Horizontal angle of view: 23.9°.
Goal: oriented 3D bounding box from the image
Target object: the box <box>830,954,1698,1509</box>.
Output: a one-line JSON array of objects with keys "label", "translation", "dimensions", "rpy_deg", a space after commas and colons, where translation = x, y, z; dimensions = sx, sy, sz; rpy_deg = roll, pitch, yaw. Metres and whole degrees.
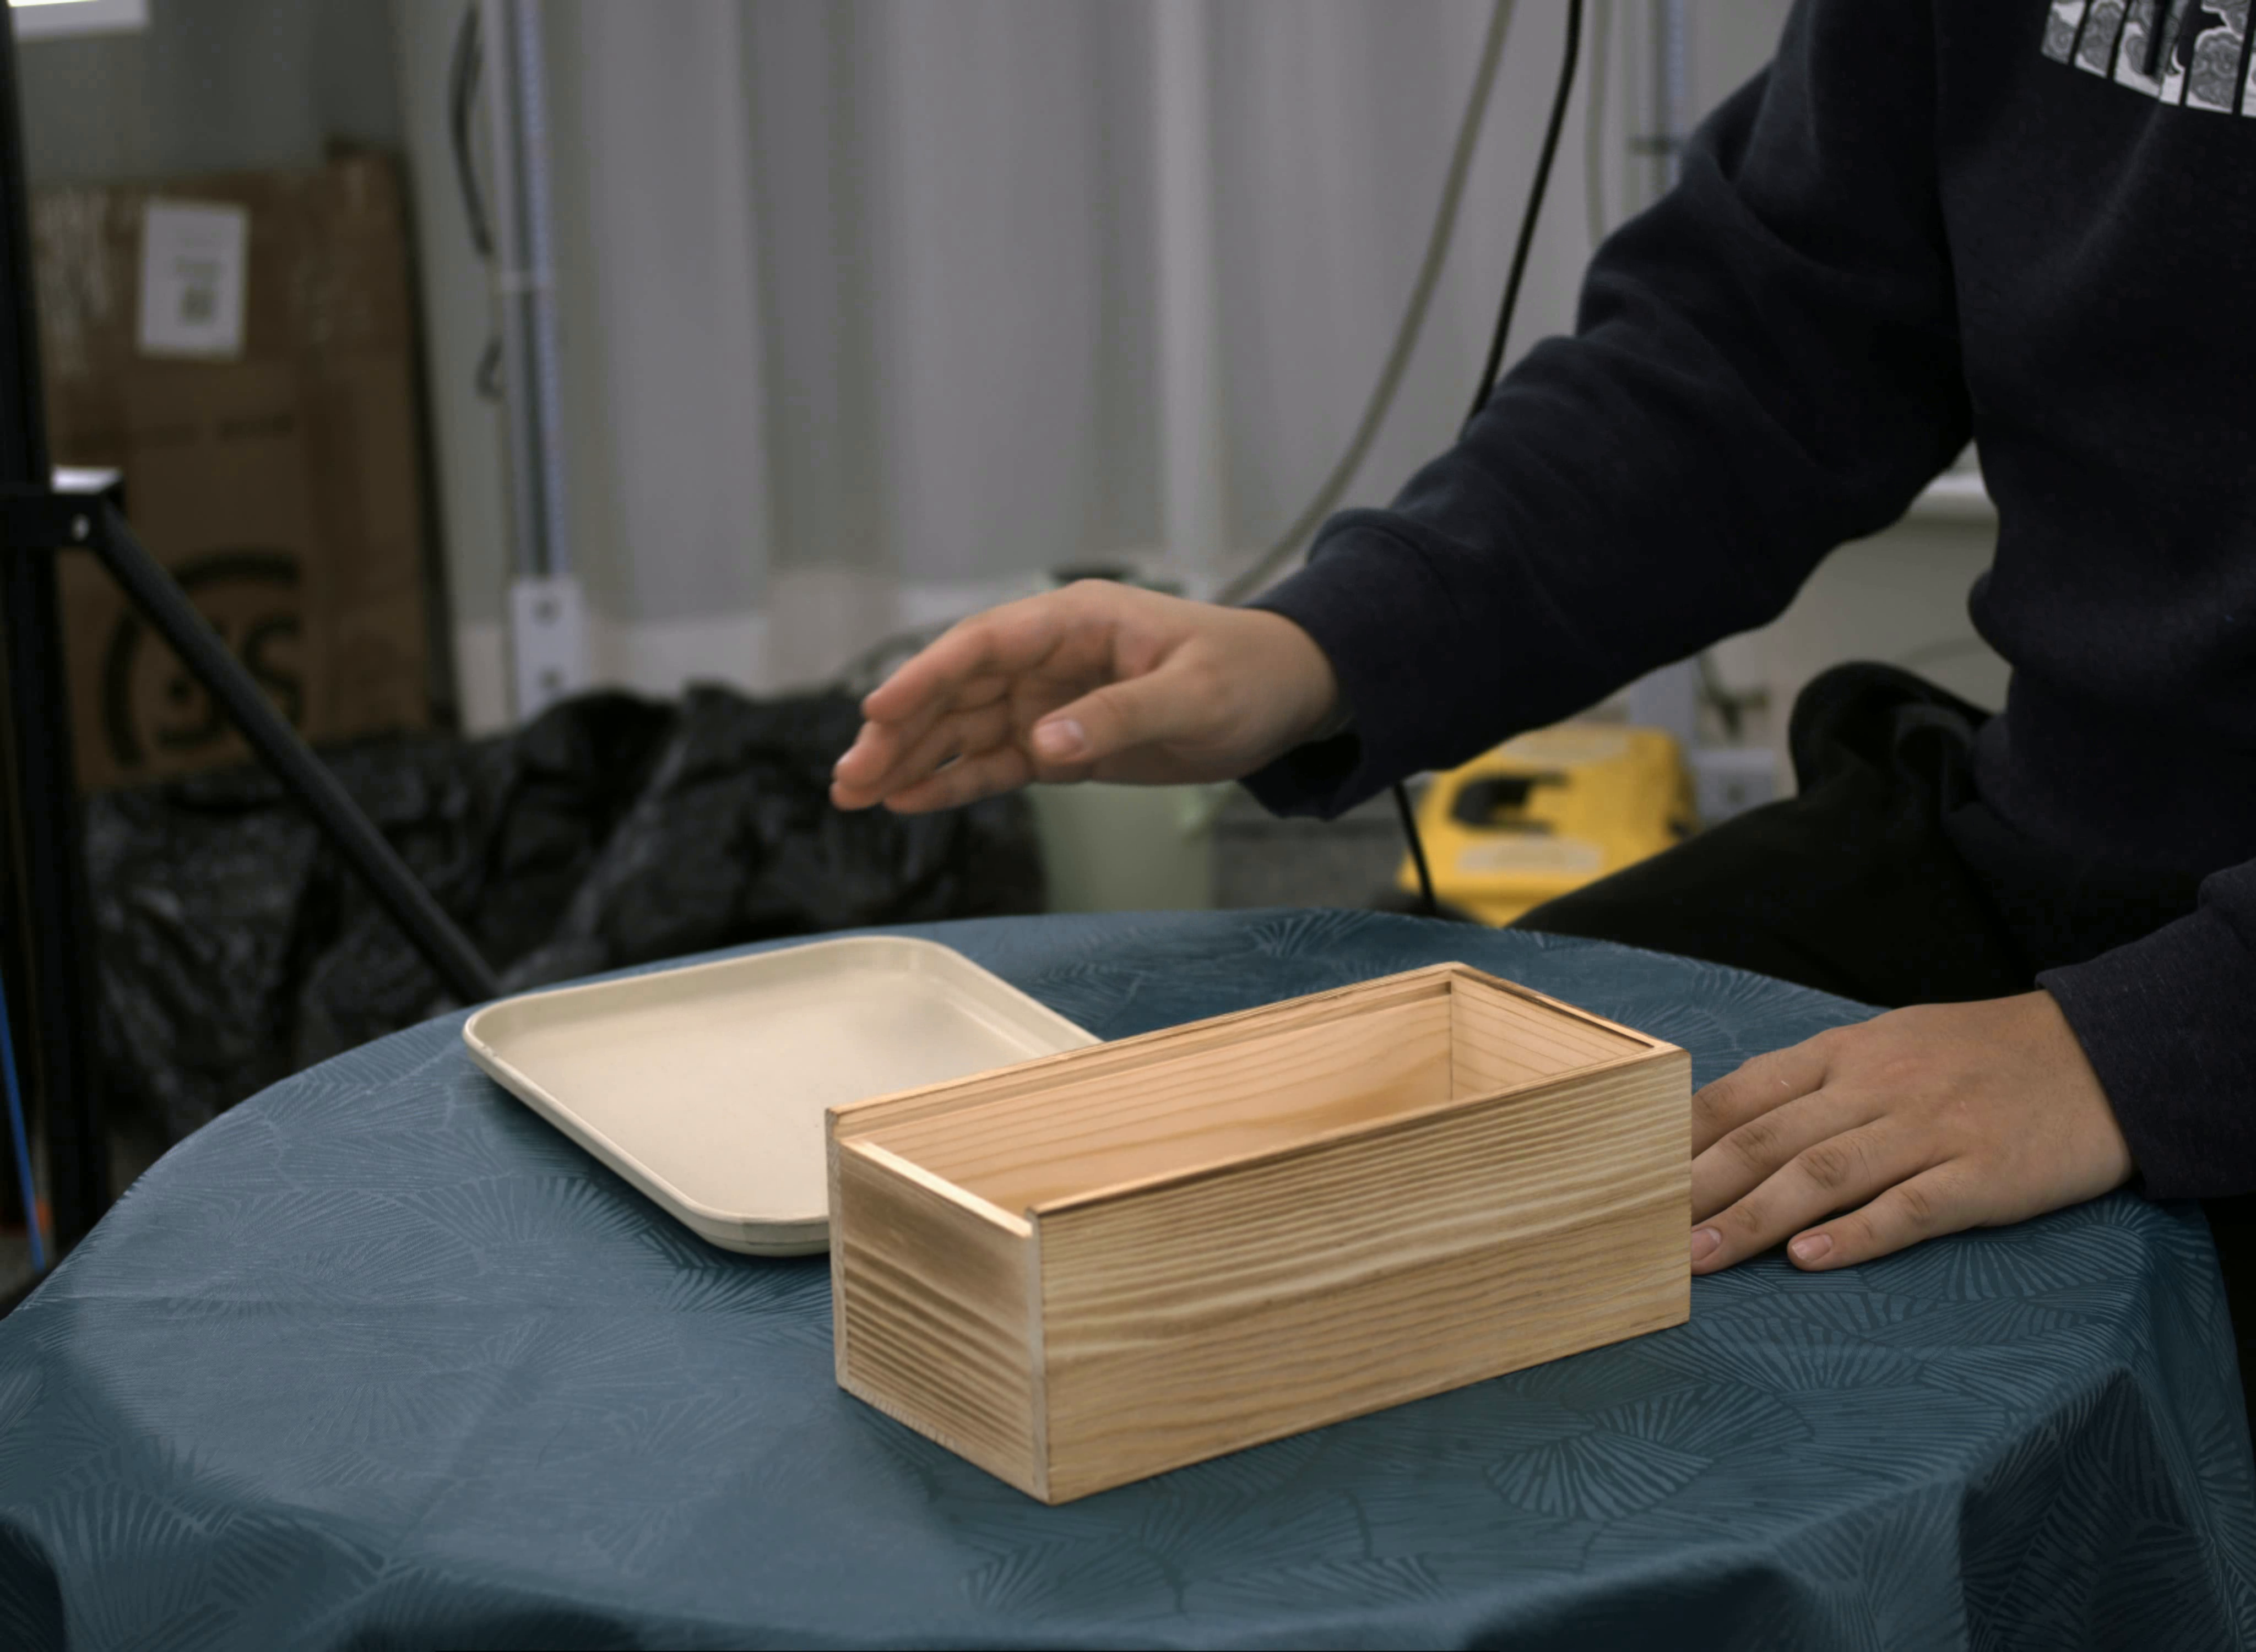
[{"label": "box", "translation": [0.038, 0.104, 1.418], "dimensions": [0.206, 0.080, 0.110], "rpy_deg": [-12, 19, -31]}]

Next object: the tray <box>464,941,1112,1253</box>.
[{"label": "tray", "translation": [-0.090, 0.082, 1.631], "dimensions": [0.168, 0.017, 0.244], "rpy_deg": [-9, 17, -25]}]
